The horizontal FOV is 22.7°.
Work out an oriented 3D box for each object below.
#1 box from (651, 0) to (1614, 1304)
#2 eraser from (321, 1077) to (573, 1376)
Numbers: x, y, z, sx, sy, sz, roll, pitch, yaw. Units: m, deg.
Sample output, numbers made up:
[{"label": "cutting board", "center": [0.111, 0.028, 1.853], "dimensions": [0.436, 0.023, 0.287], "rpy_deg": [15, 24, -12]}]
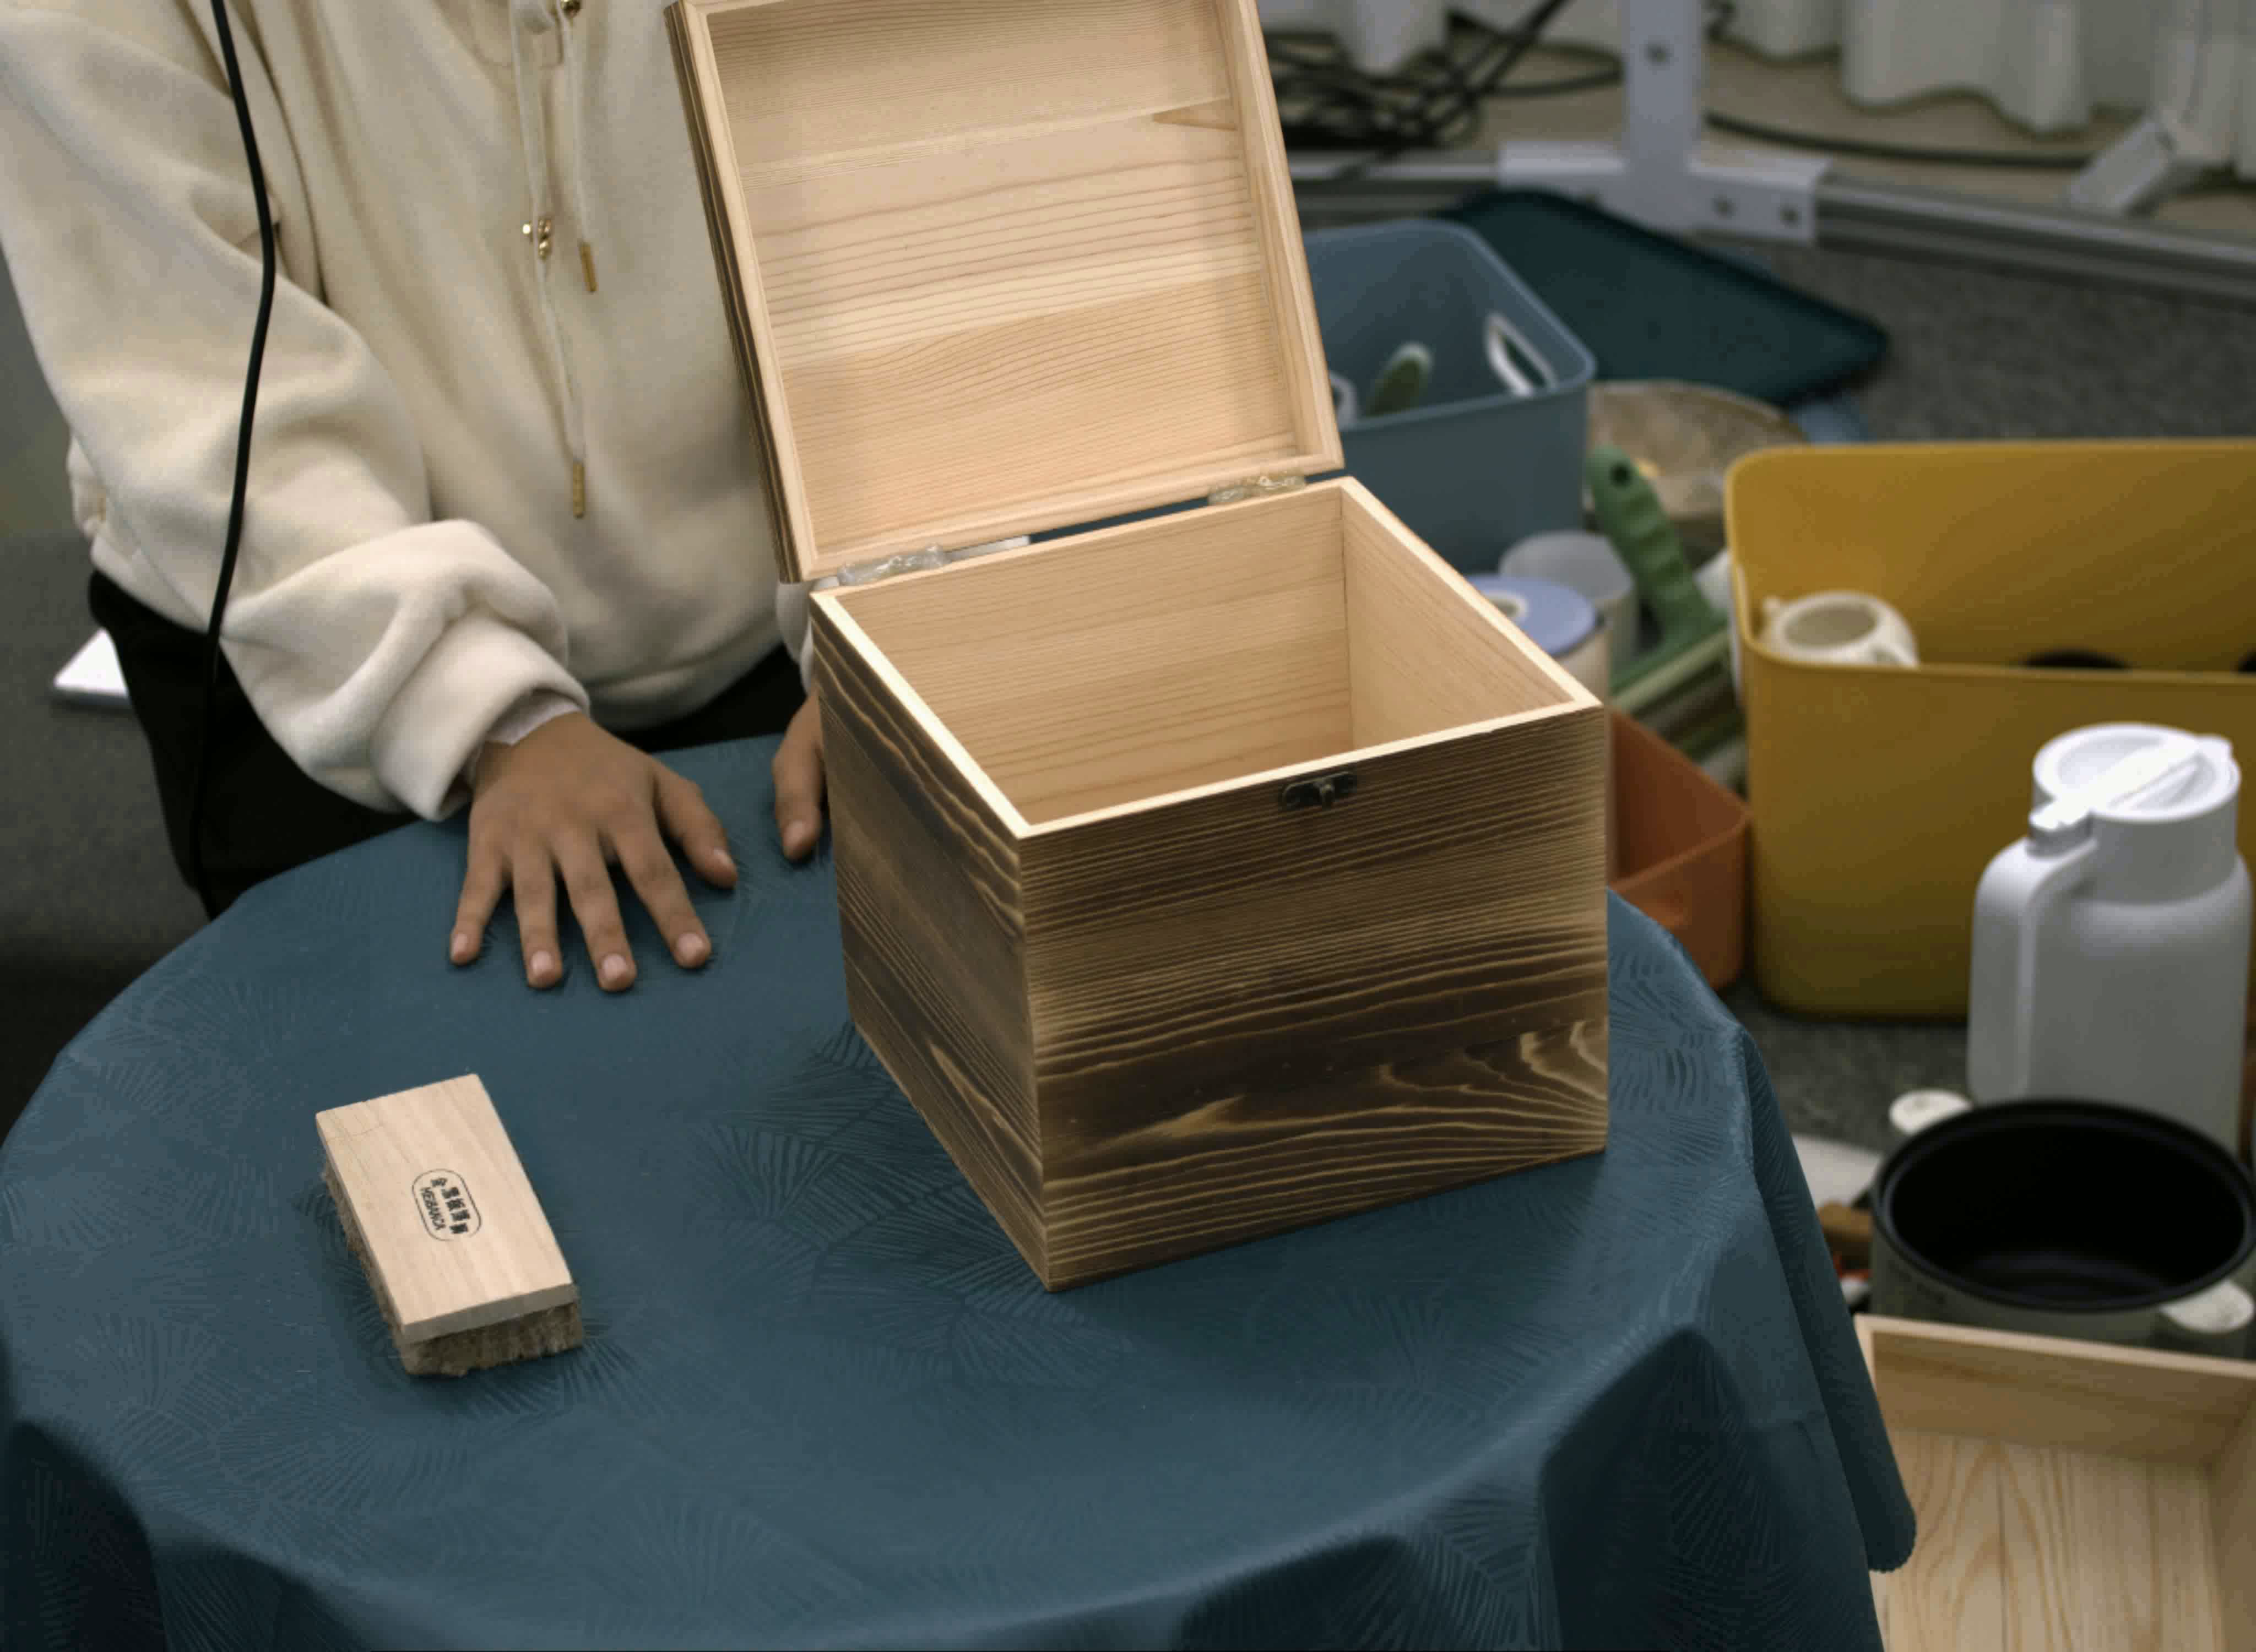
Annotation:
[{"label": "box", "center": [0.000, -0.092, 1.885], "dimensions": [0.209, 0.371, 0.324], "rpy_deg": [-14, 28, -18]}, {"label": "eraser", "center": [-0.223, 0.132, 1.832], "dimensions": [0.057, 0.028, 0.140], "rpy_deg": [-14, 28, -13]}]
